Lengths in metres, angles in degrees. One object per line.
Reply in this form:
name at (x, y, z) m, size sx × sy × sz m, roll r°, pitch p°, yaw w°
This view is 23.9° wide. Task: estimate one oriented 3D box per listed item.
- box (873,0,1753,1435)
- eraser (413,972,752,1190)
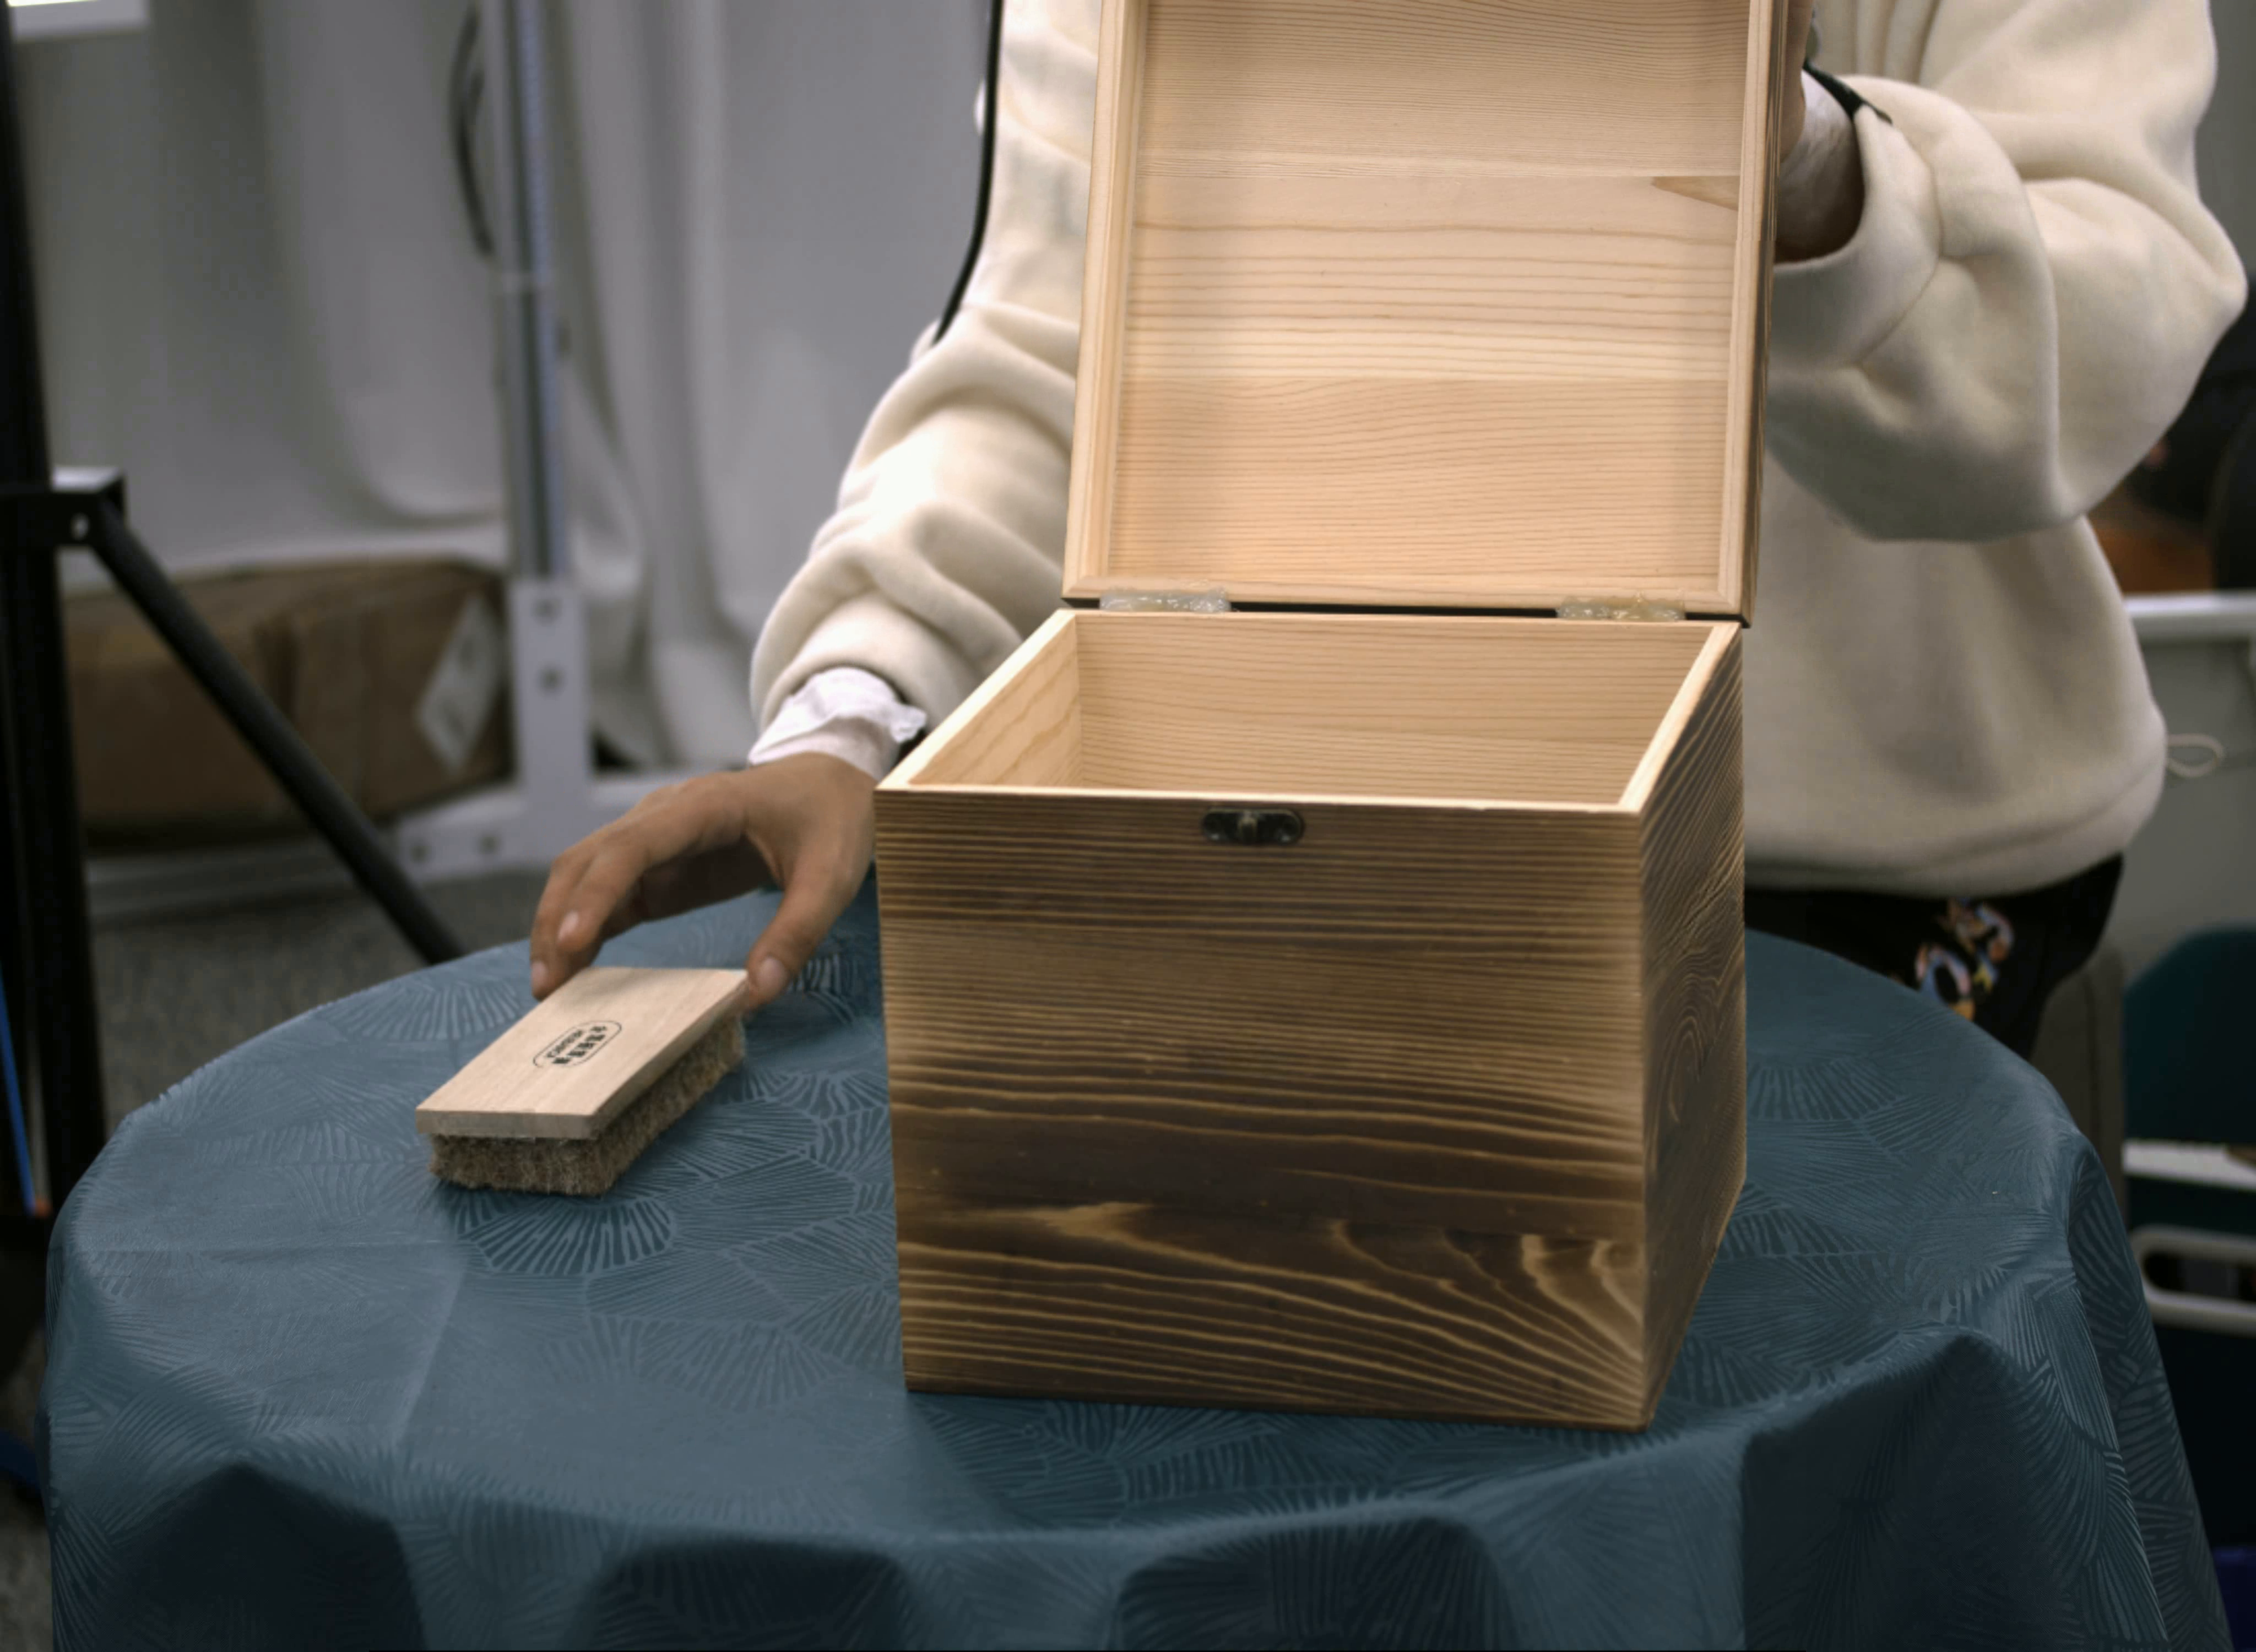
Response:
box at (0.063, -0.061, 1.479) m, size 0.210 × 0.375 × 0.320 m, roll 1°, pitch 15°, yaw 14°
eraser at (-0.165, 0.077, 1.641) m, size 0.057 × 0.029 × 0.138 m, roll 0°, pitch 15°, yaw 18°
